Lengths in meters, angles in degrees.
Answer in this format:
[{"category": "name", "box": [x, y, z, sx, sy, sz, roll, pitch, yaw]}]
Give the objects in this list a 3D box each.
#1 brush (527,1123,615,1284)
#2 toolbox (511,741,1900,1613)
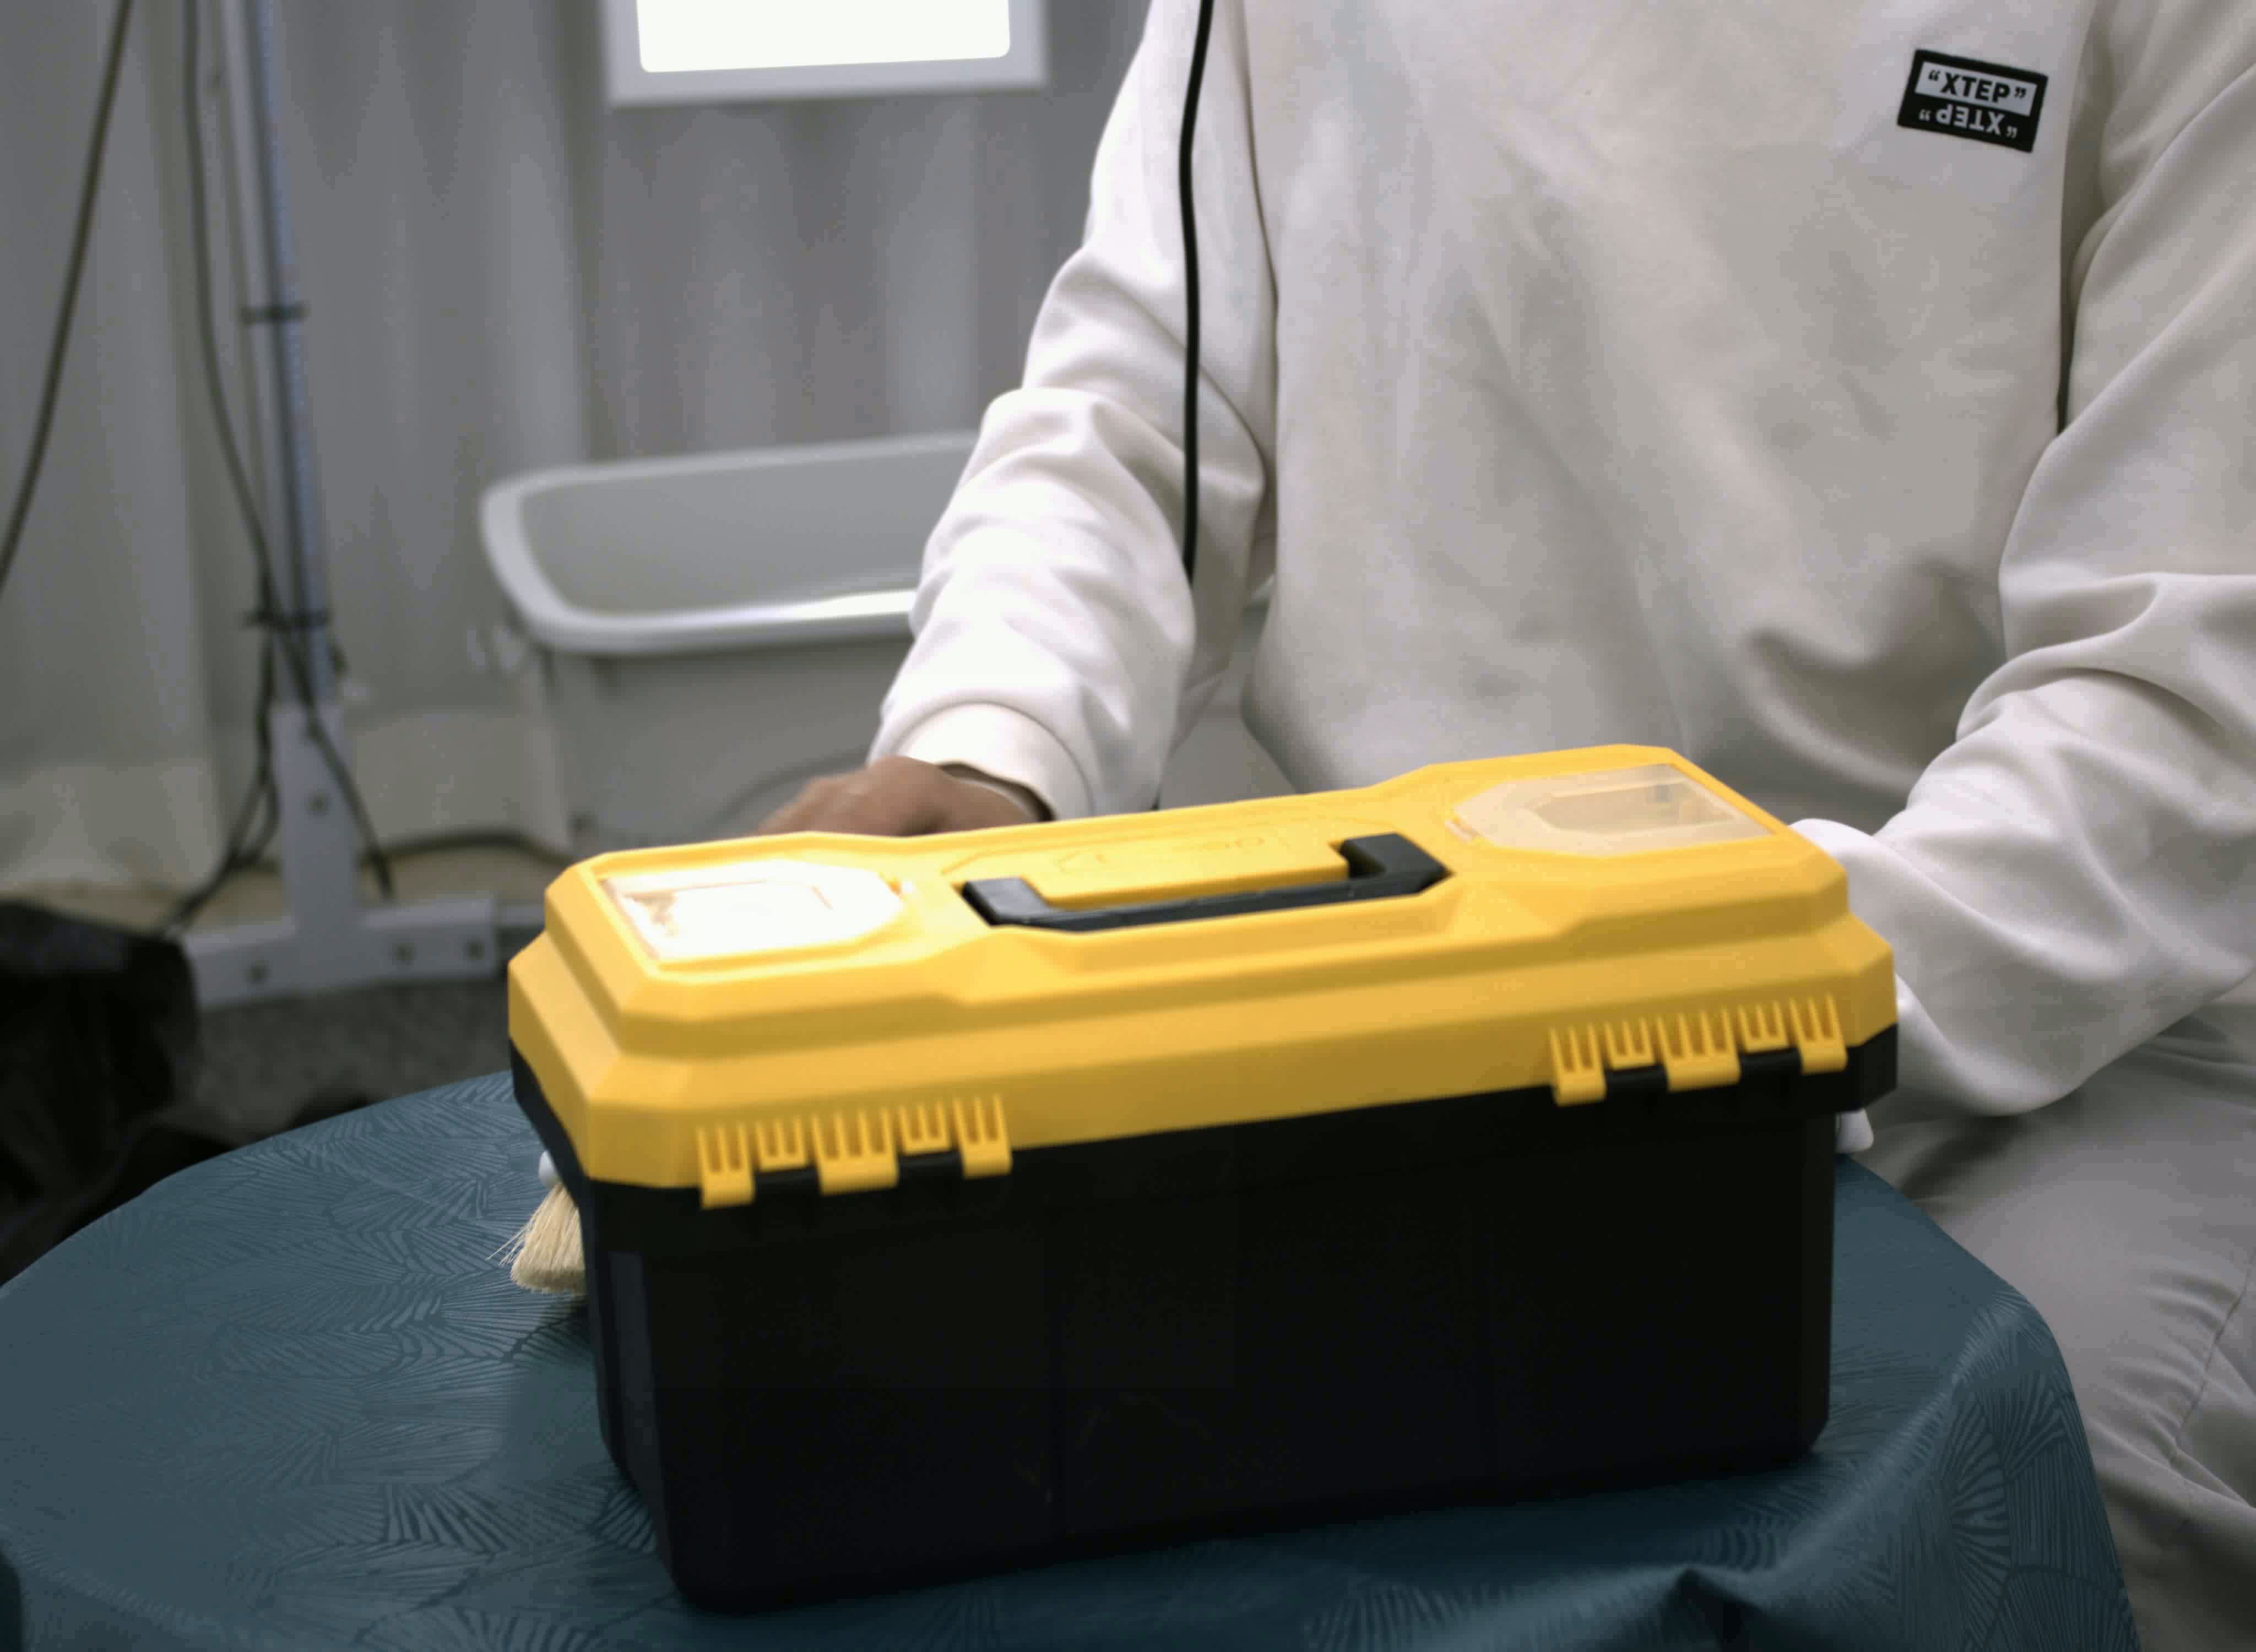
[{"category": "brush", "box": [-0.149, 0.114, 1.724, 0.068, 0.056, 0.266, 18, -2, -4]}, {"category": "toolbox", "box": [0.019, 0.090, 1.473, 0.350, 0.172, 0.183, -6, 16, -13]}]
